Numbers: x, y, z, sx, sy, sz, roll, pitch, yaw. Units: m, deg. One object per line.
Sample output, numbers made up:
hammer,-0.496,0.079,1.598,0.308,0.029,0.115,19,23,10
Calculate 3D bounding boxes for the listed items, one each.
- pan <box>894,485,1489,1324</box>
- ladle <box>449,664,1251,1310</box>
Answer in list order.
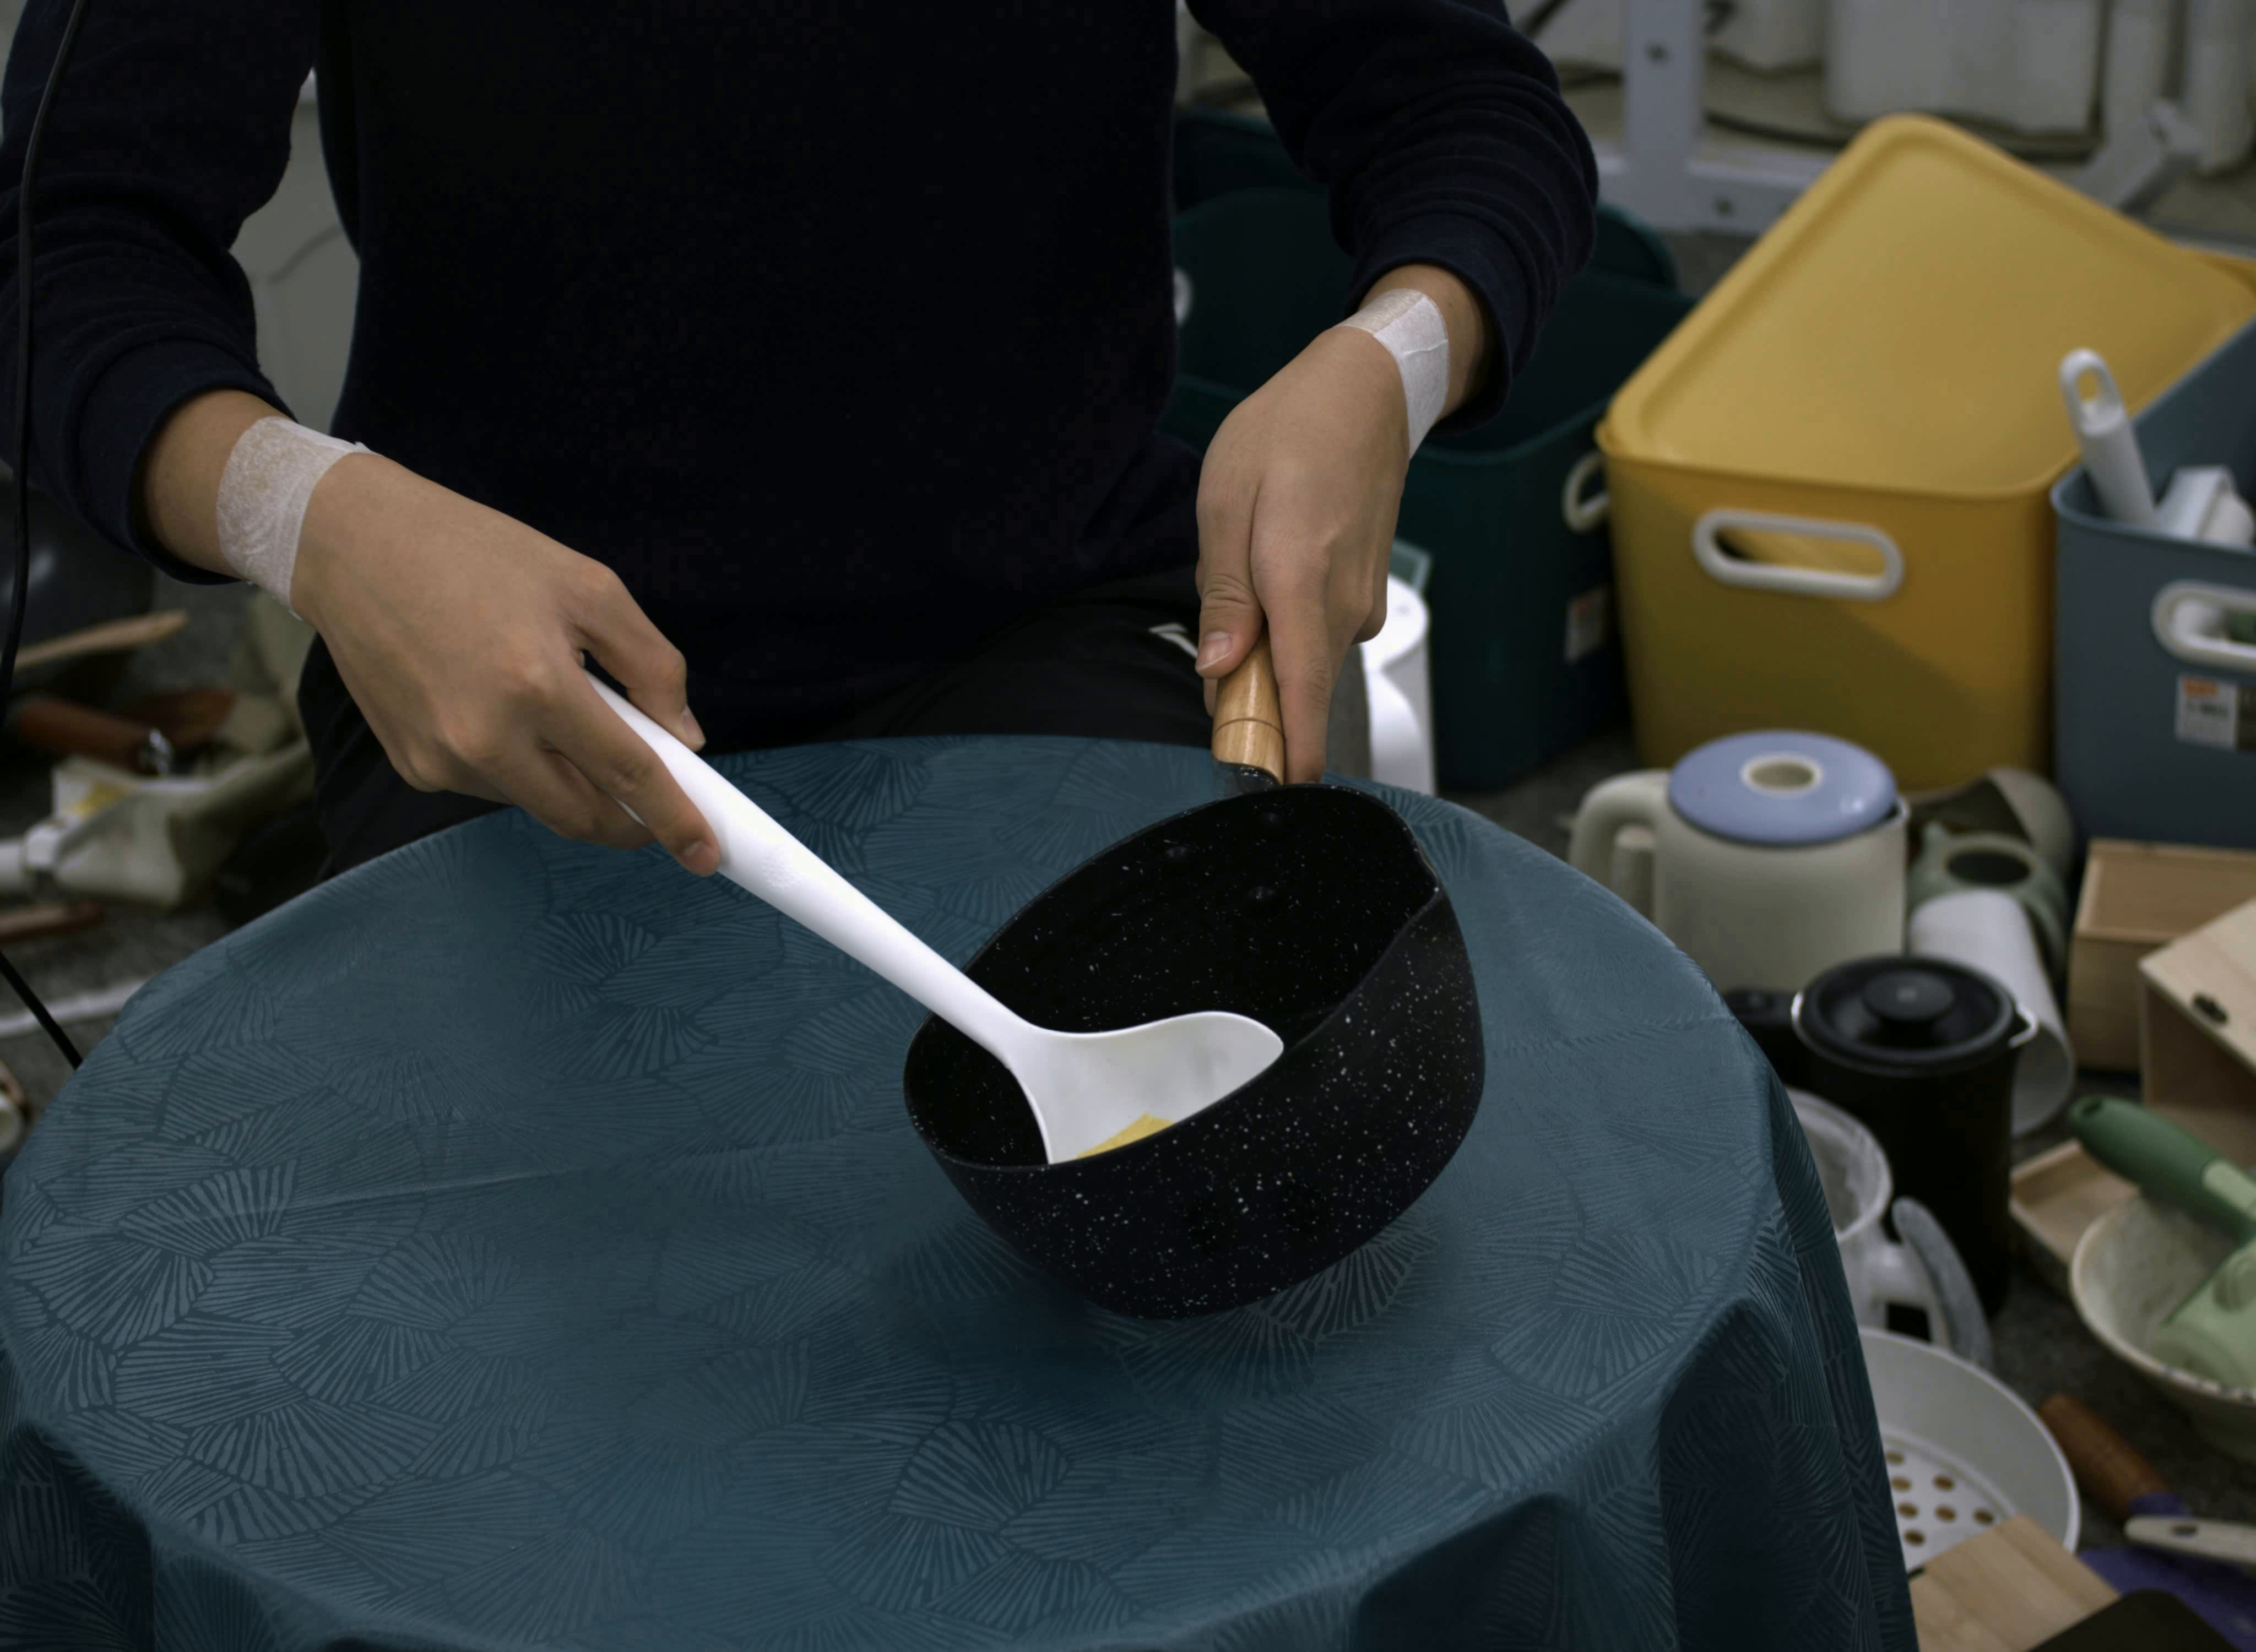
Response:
pan,0.037,0.022,1.859,0.205,0.107,0.349,-20,30,24
ladle,-0.085,0.044,1.761,0.292,0.090,0.070,34,0,-5
